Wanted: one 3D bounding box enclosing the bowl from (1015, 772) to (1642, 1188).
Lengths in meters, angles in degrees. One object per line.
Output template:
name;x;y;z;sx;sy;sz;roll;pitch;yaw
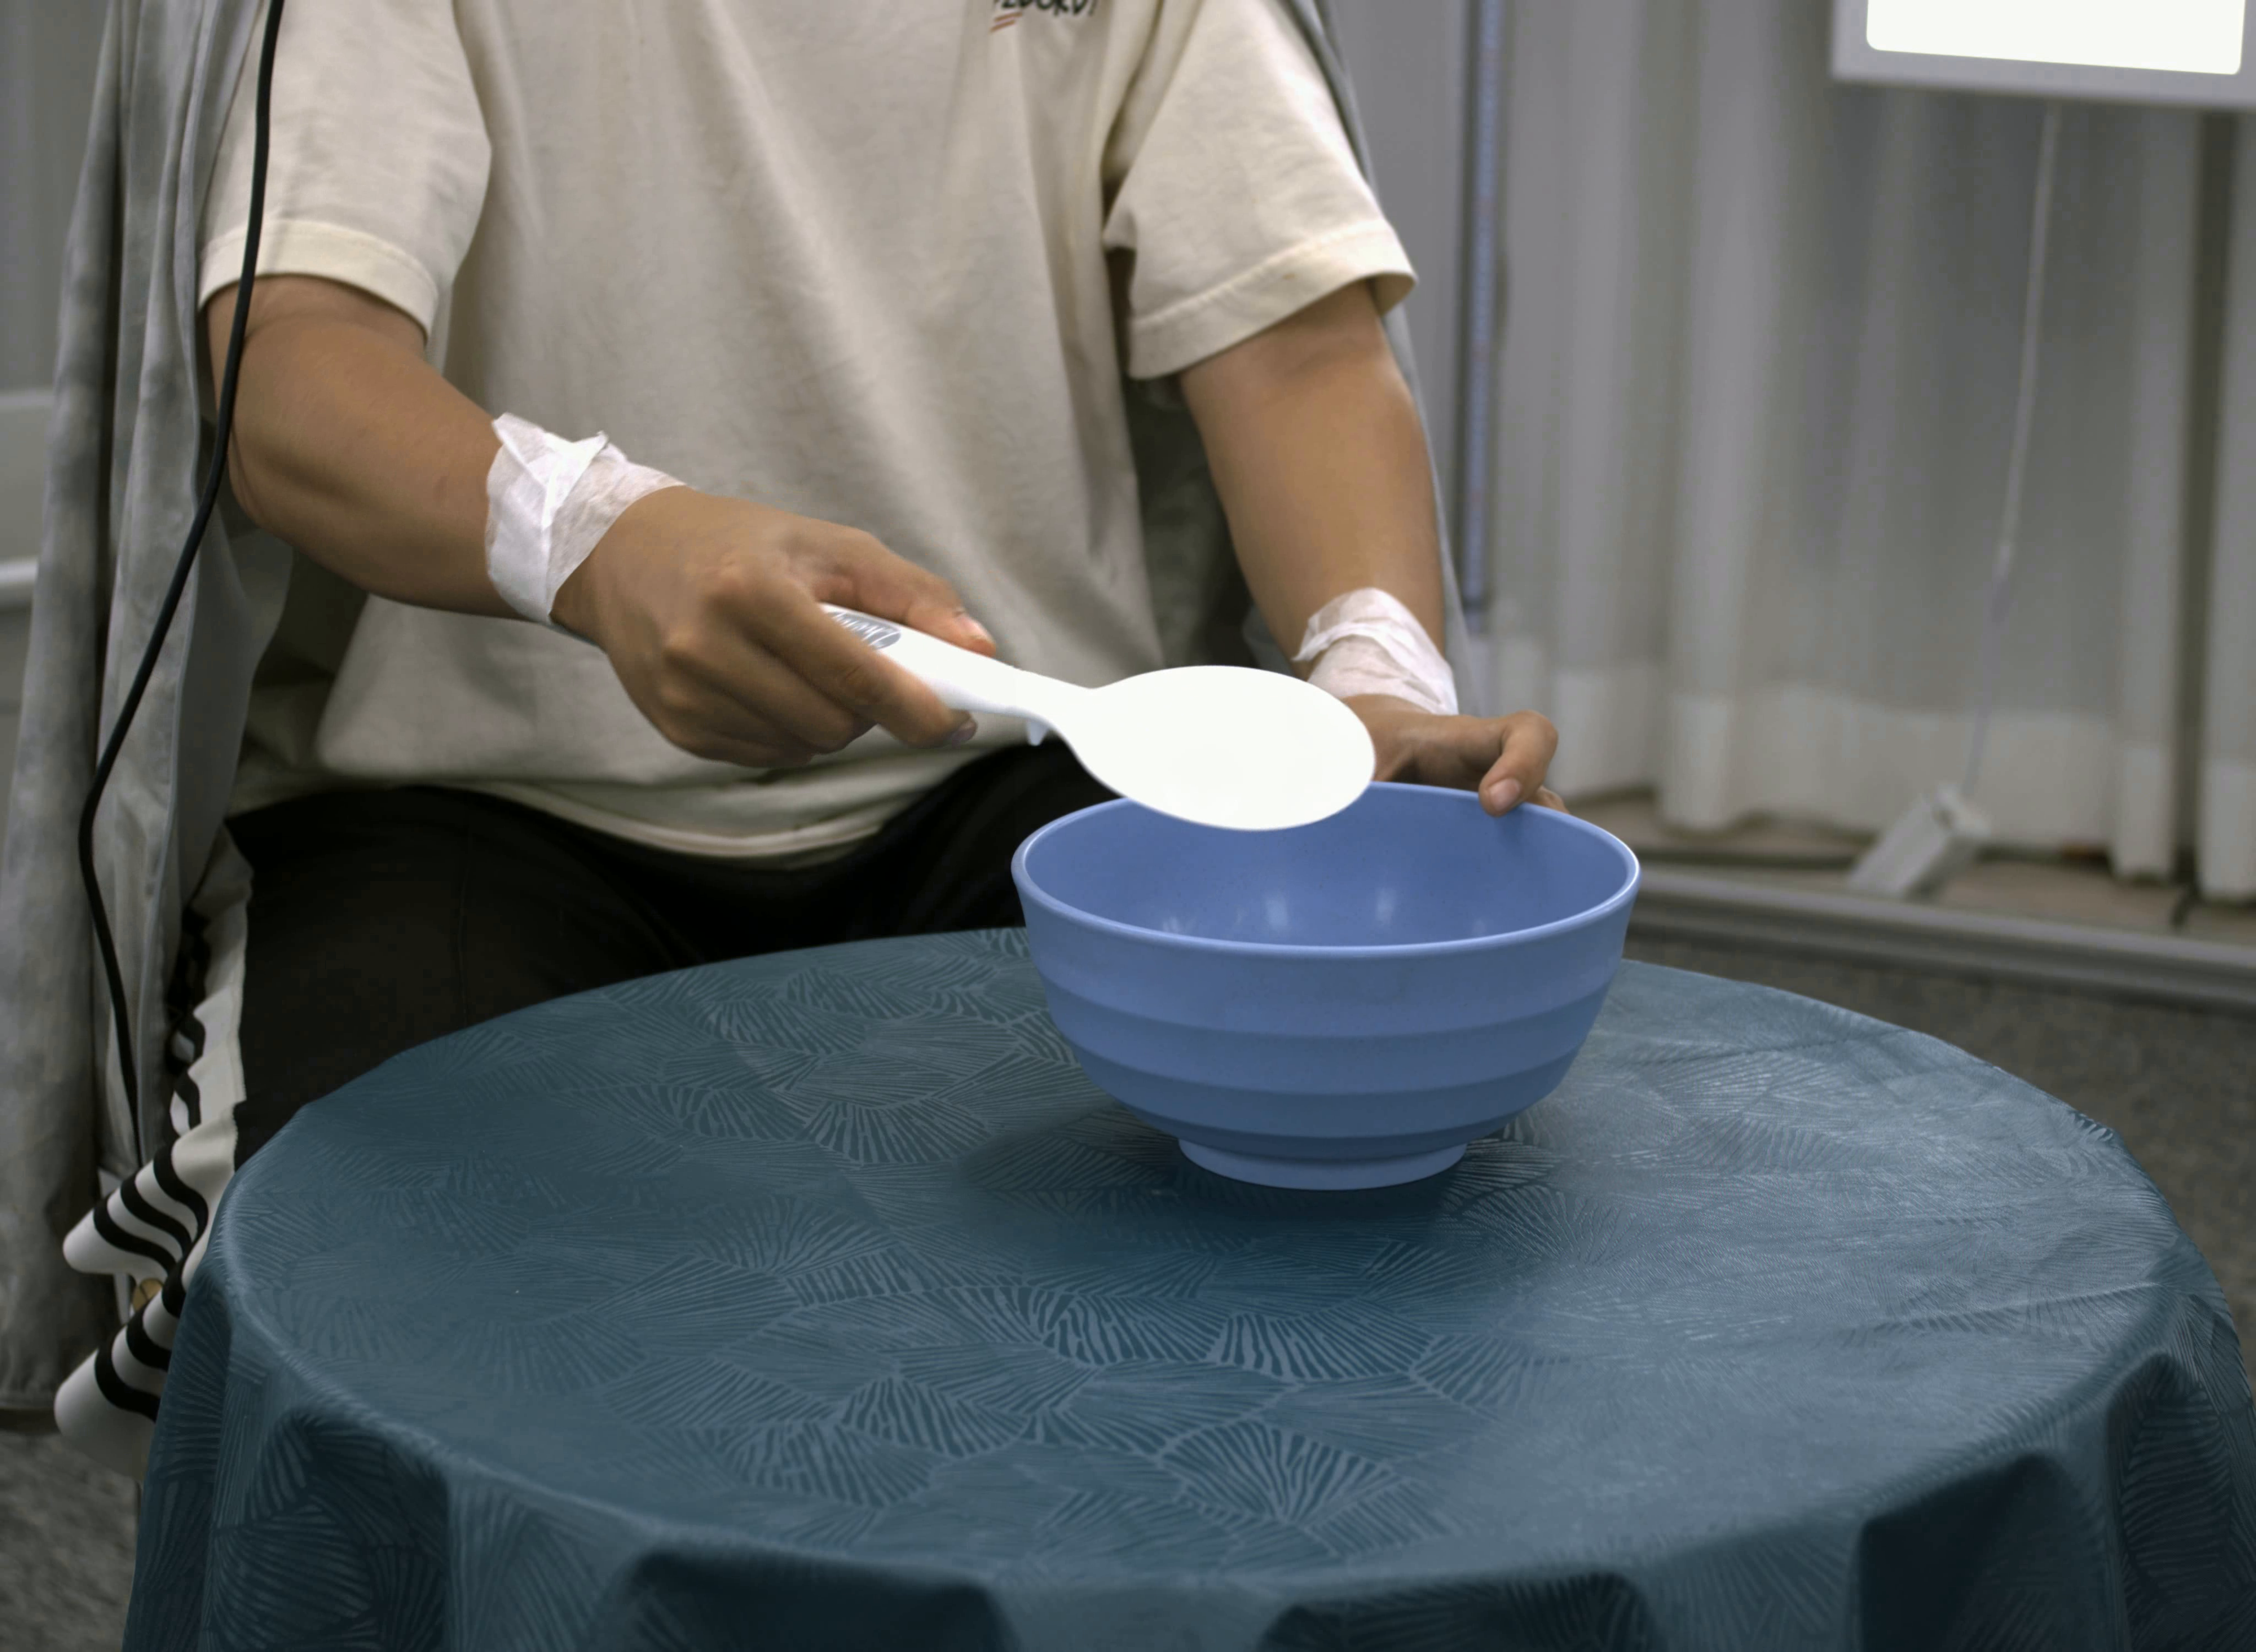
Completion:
bowl;0.062;0.054;1.657;0.196;0.096;0.195;1;17;0

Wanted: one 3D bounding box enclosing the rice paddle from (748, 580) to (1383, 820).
rice paddle;-0.019;-0.041;1.616;0.203;0.030;0.068;14;47;17
